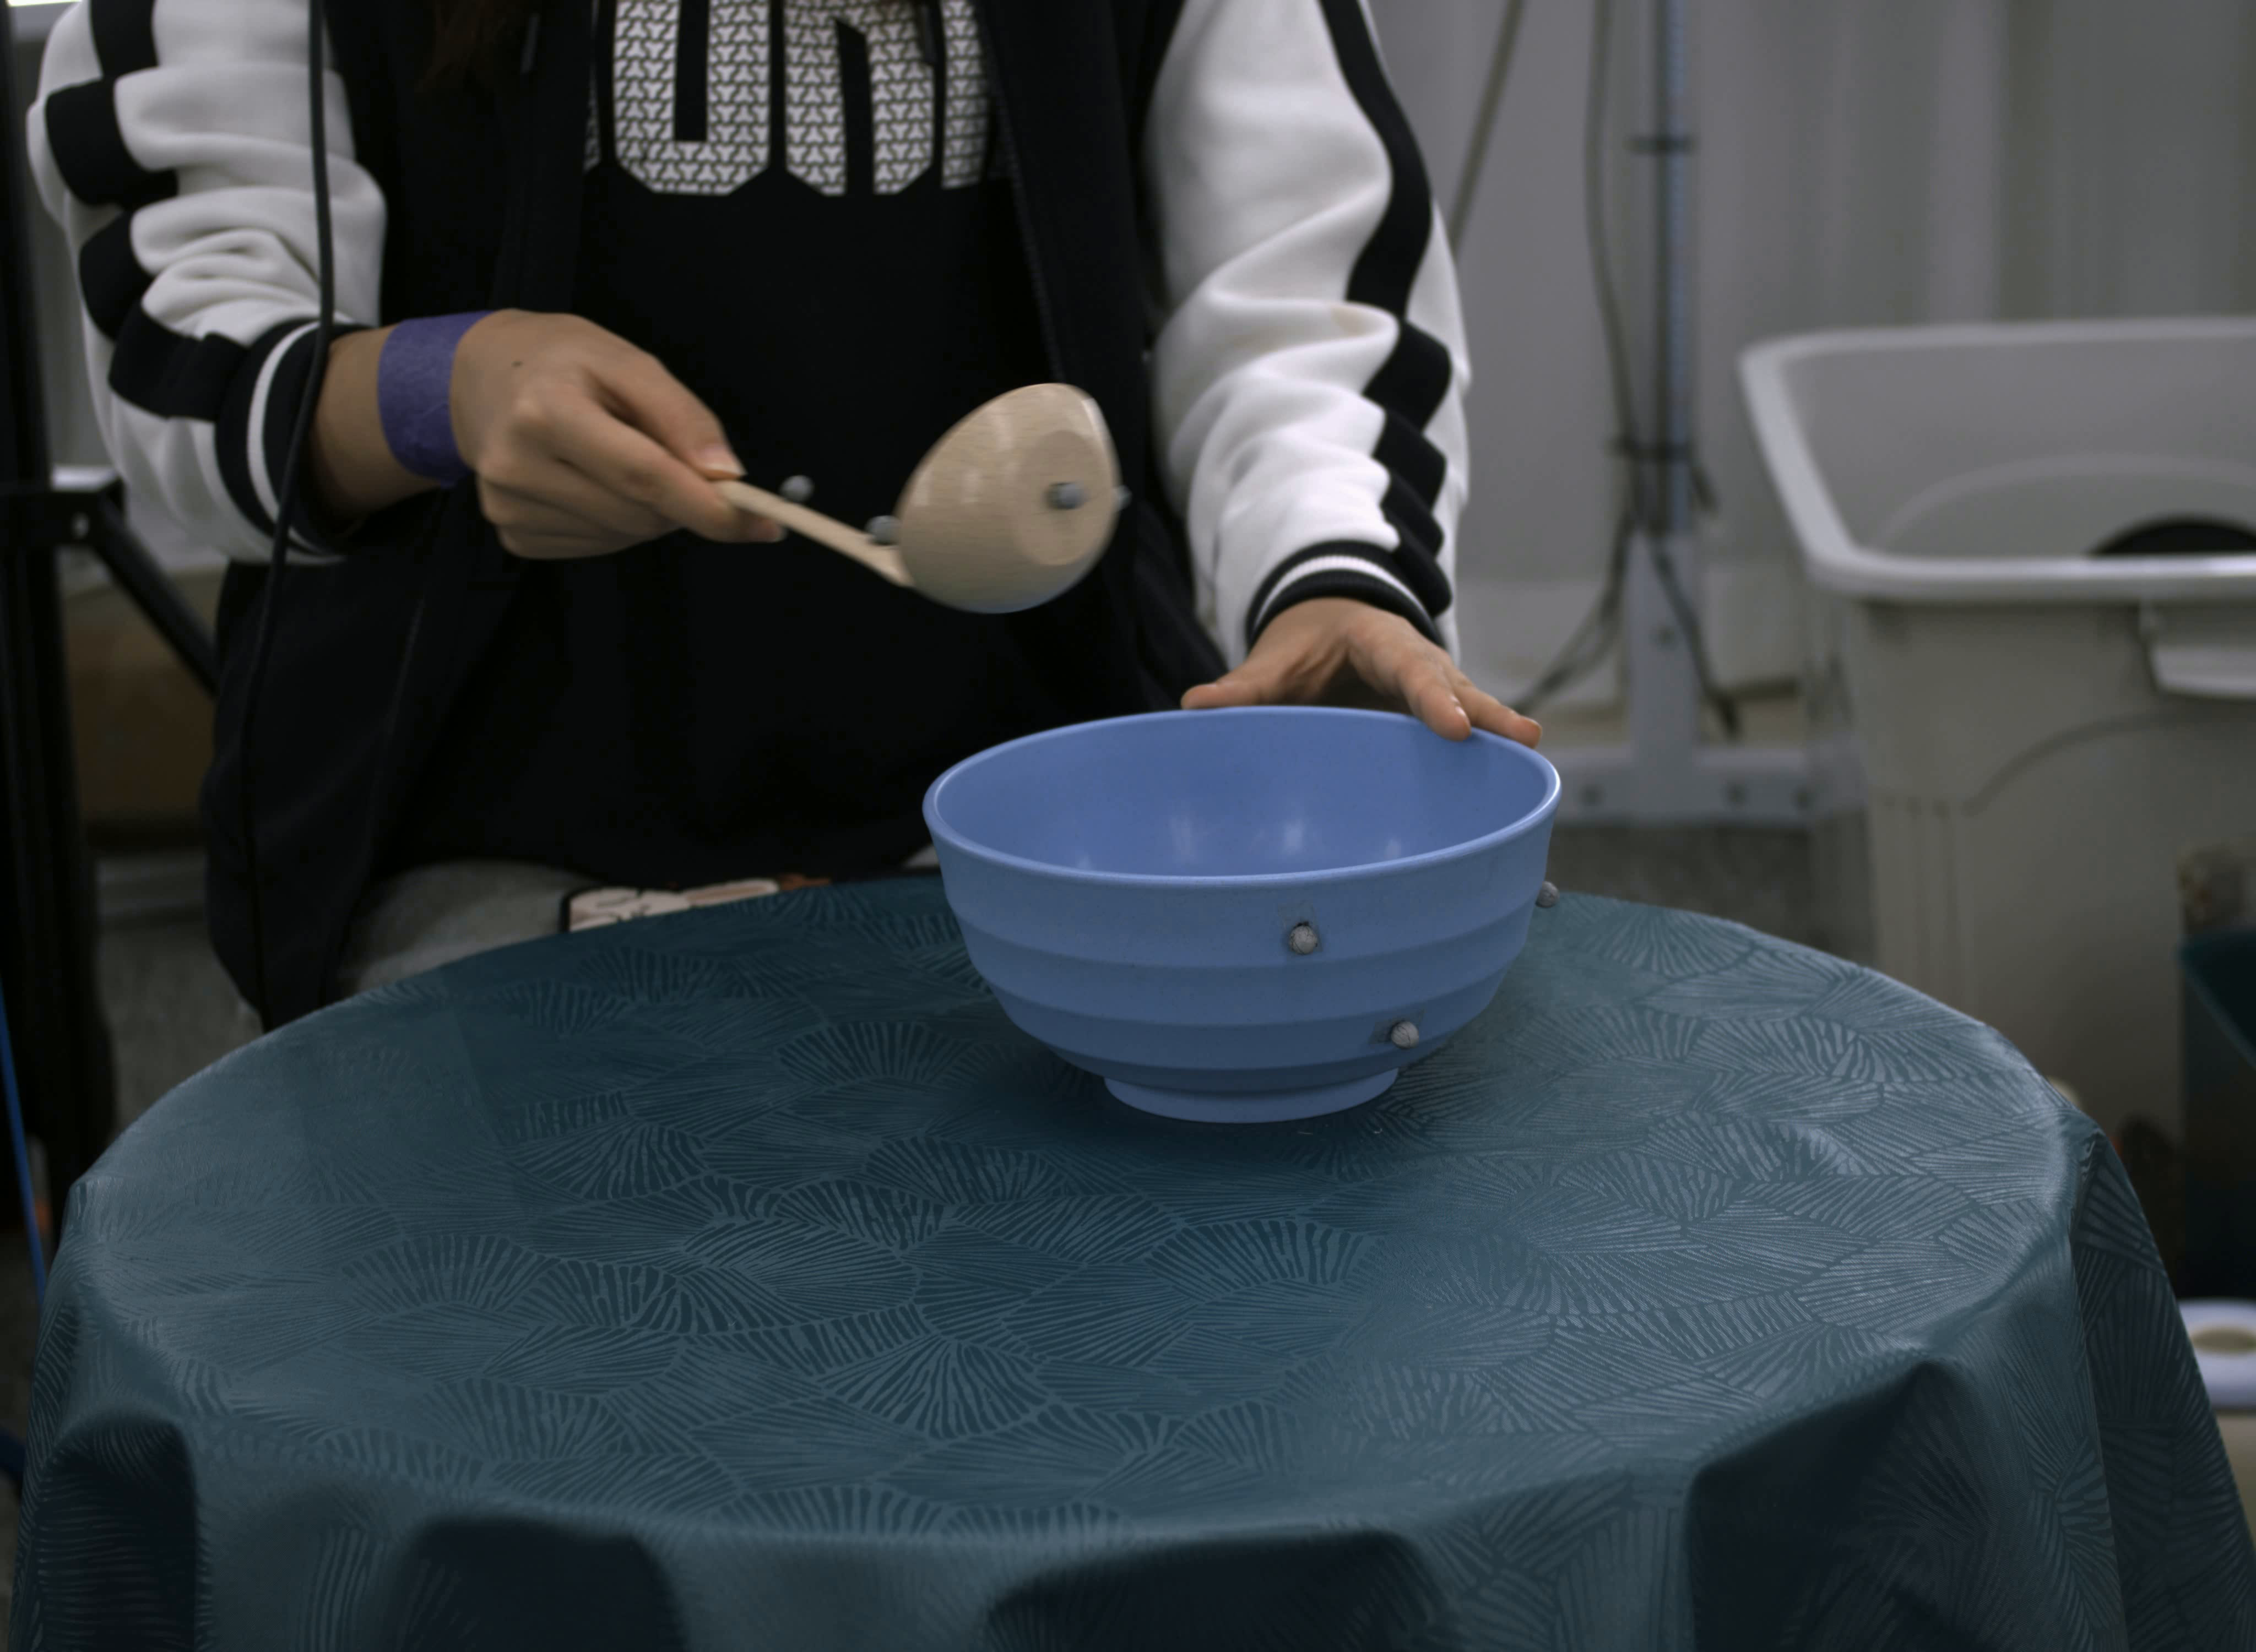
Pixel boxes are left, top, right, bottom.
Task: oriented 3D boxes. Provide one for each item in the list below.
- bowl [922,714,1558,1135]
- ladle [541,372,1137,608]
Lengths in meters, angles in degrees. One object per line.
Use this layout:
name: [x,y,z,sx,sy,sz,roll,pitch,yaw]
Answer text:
bowl: [0.037,0.036,1.643,0.195,0.095,0.197,-4,16,0]
ladle: [-0.099,-0.122,1.641,0.070,0.073,0.260,-10,20,-41]
